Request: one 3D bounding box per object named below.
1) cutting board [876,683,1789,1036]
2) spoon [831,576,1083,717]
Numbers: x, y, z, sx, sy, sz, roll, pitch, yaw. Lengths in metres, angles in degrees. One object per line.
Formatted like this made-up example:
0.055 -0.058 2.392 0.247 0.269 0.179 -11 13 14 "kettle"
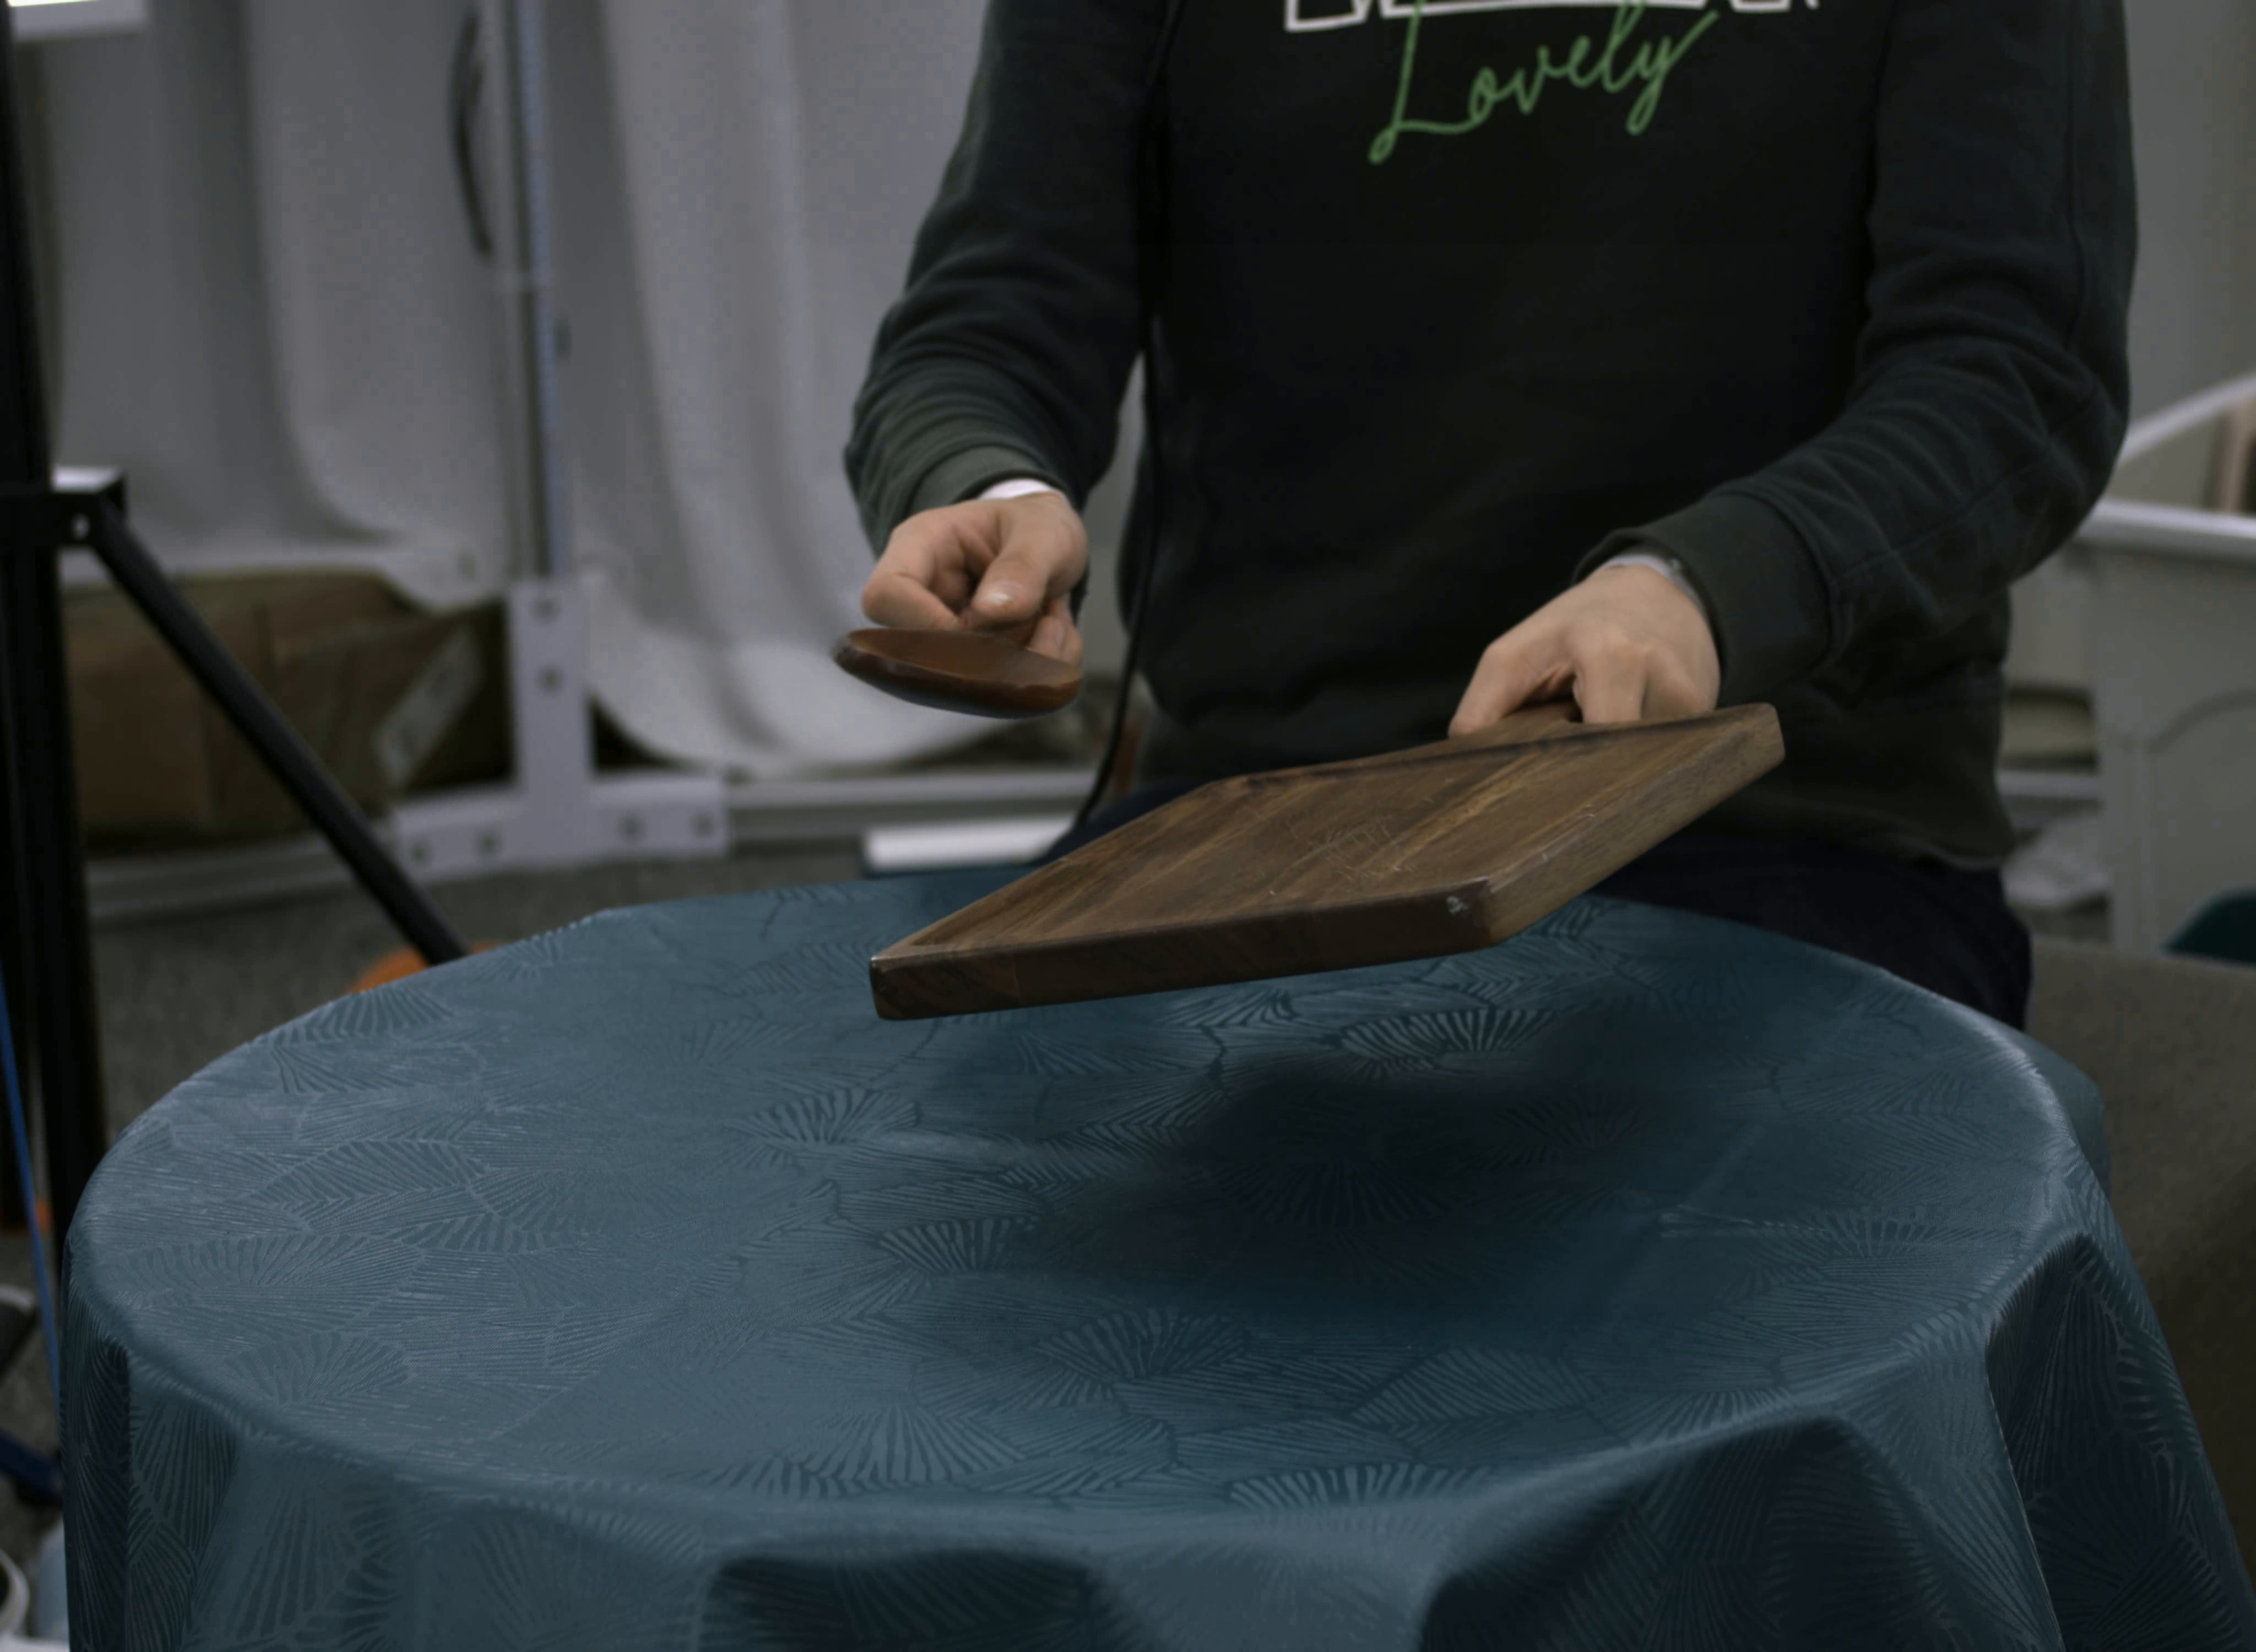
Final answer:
0.085 0.000 1.586 0.204 0.023 0.346 -10 8 27 "cutting board"
-0.047 -0.055 1.655 0.075 0.017 0.215 8 10 3 "spoon"
